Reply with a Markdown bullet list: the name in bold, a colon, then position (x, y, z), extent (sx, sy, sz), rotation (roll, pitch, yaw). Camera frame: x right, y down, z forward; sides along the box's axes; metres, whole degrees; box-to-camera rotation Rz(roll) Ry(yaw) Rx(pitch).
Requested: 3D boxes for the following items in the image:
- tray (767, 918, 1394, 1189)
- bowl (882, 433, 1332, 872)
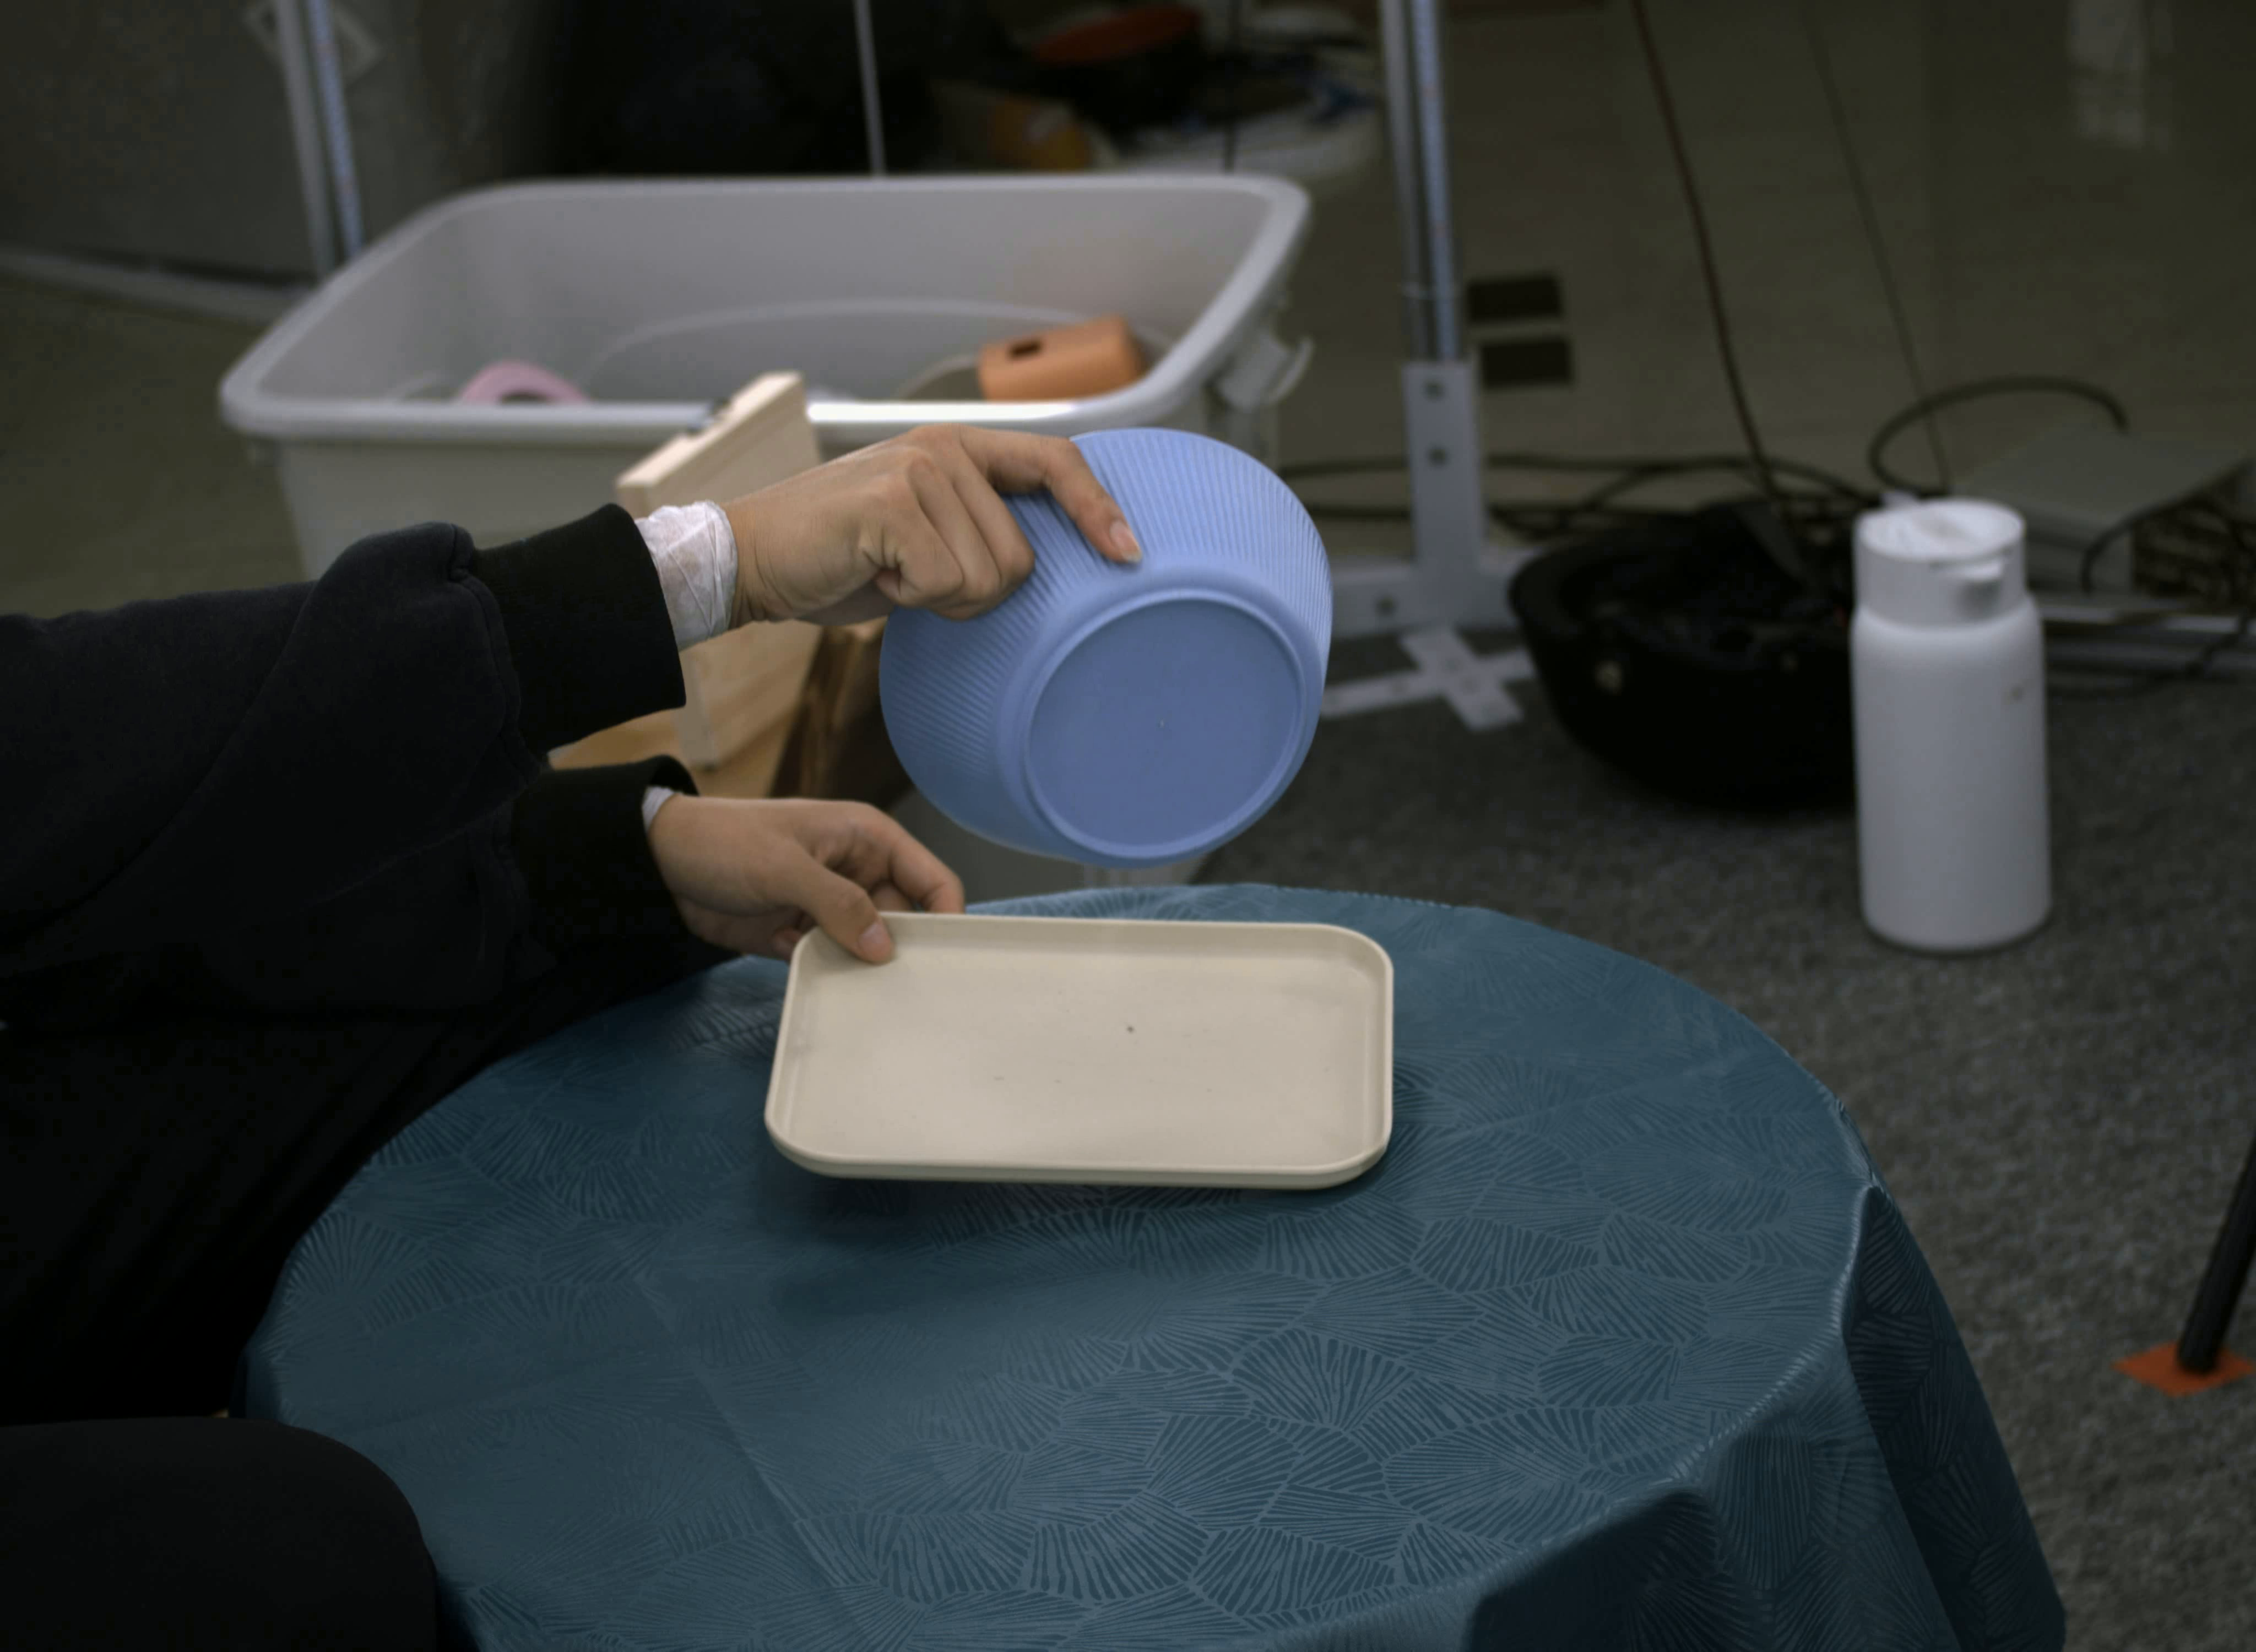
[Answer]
- **tray**: position (-0.016, 0.089, 2.199), extent (0.239, 0.018, 0.168), rotation (1, 32, 2)
- **bowl**: position (0.003, -0.050, 2.054), extent (0.175, 0.179, 0.069), rotation (-13, 34, -14)
